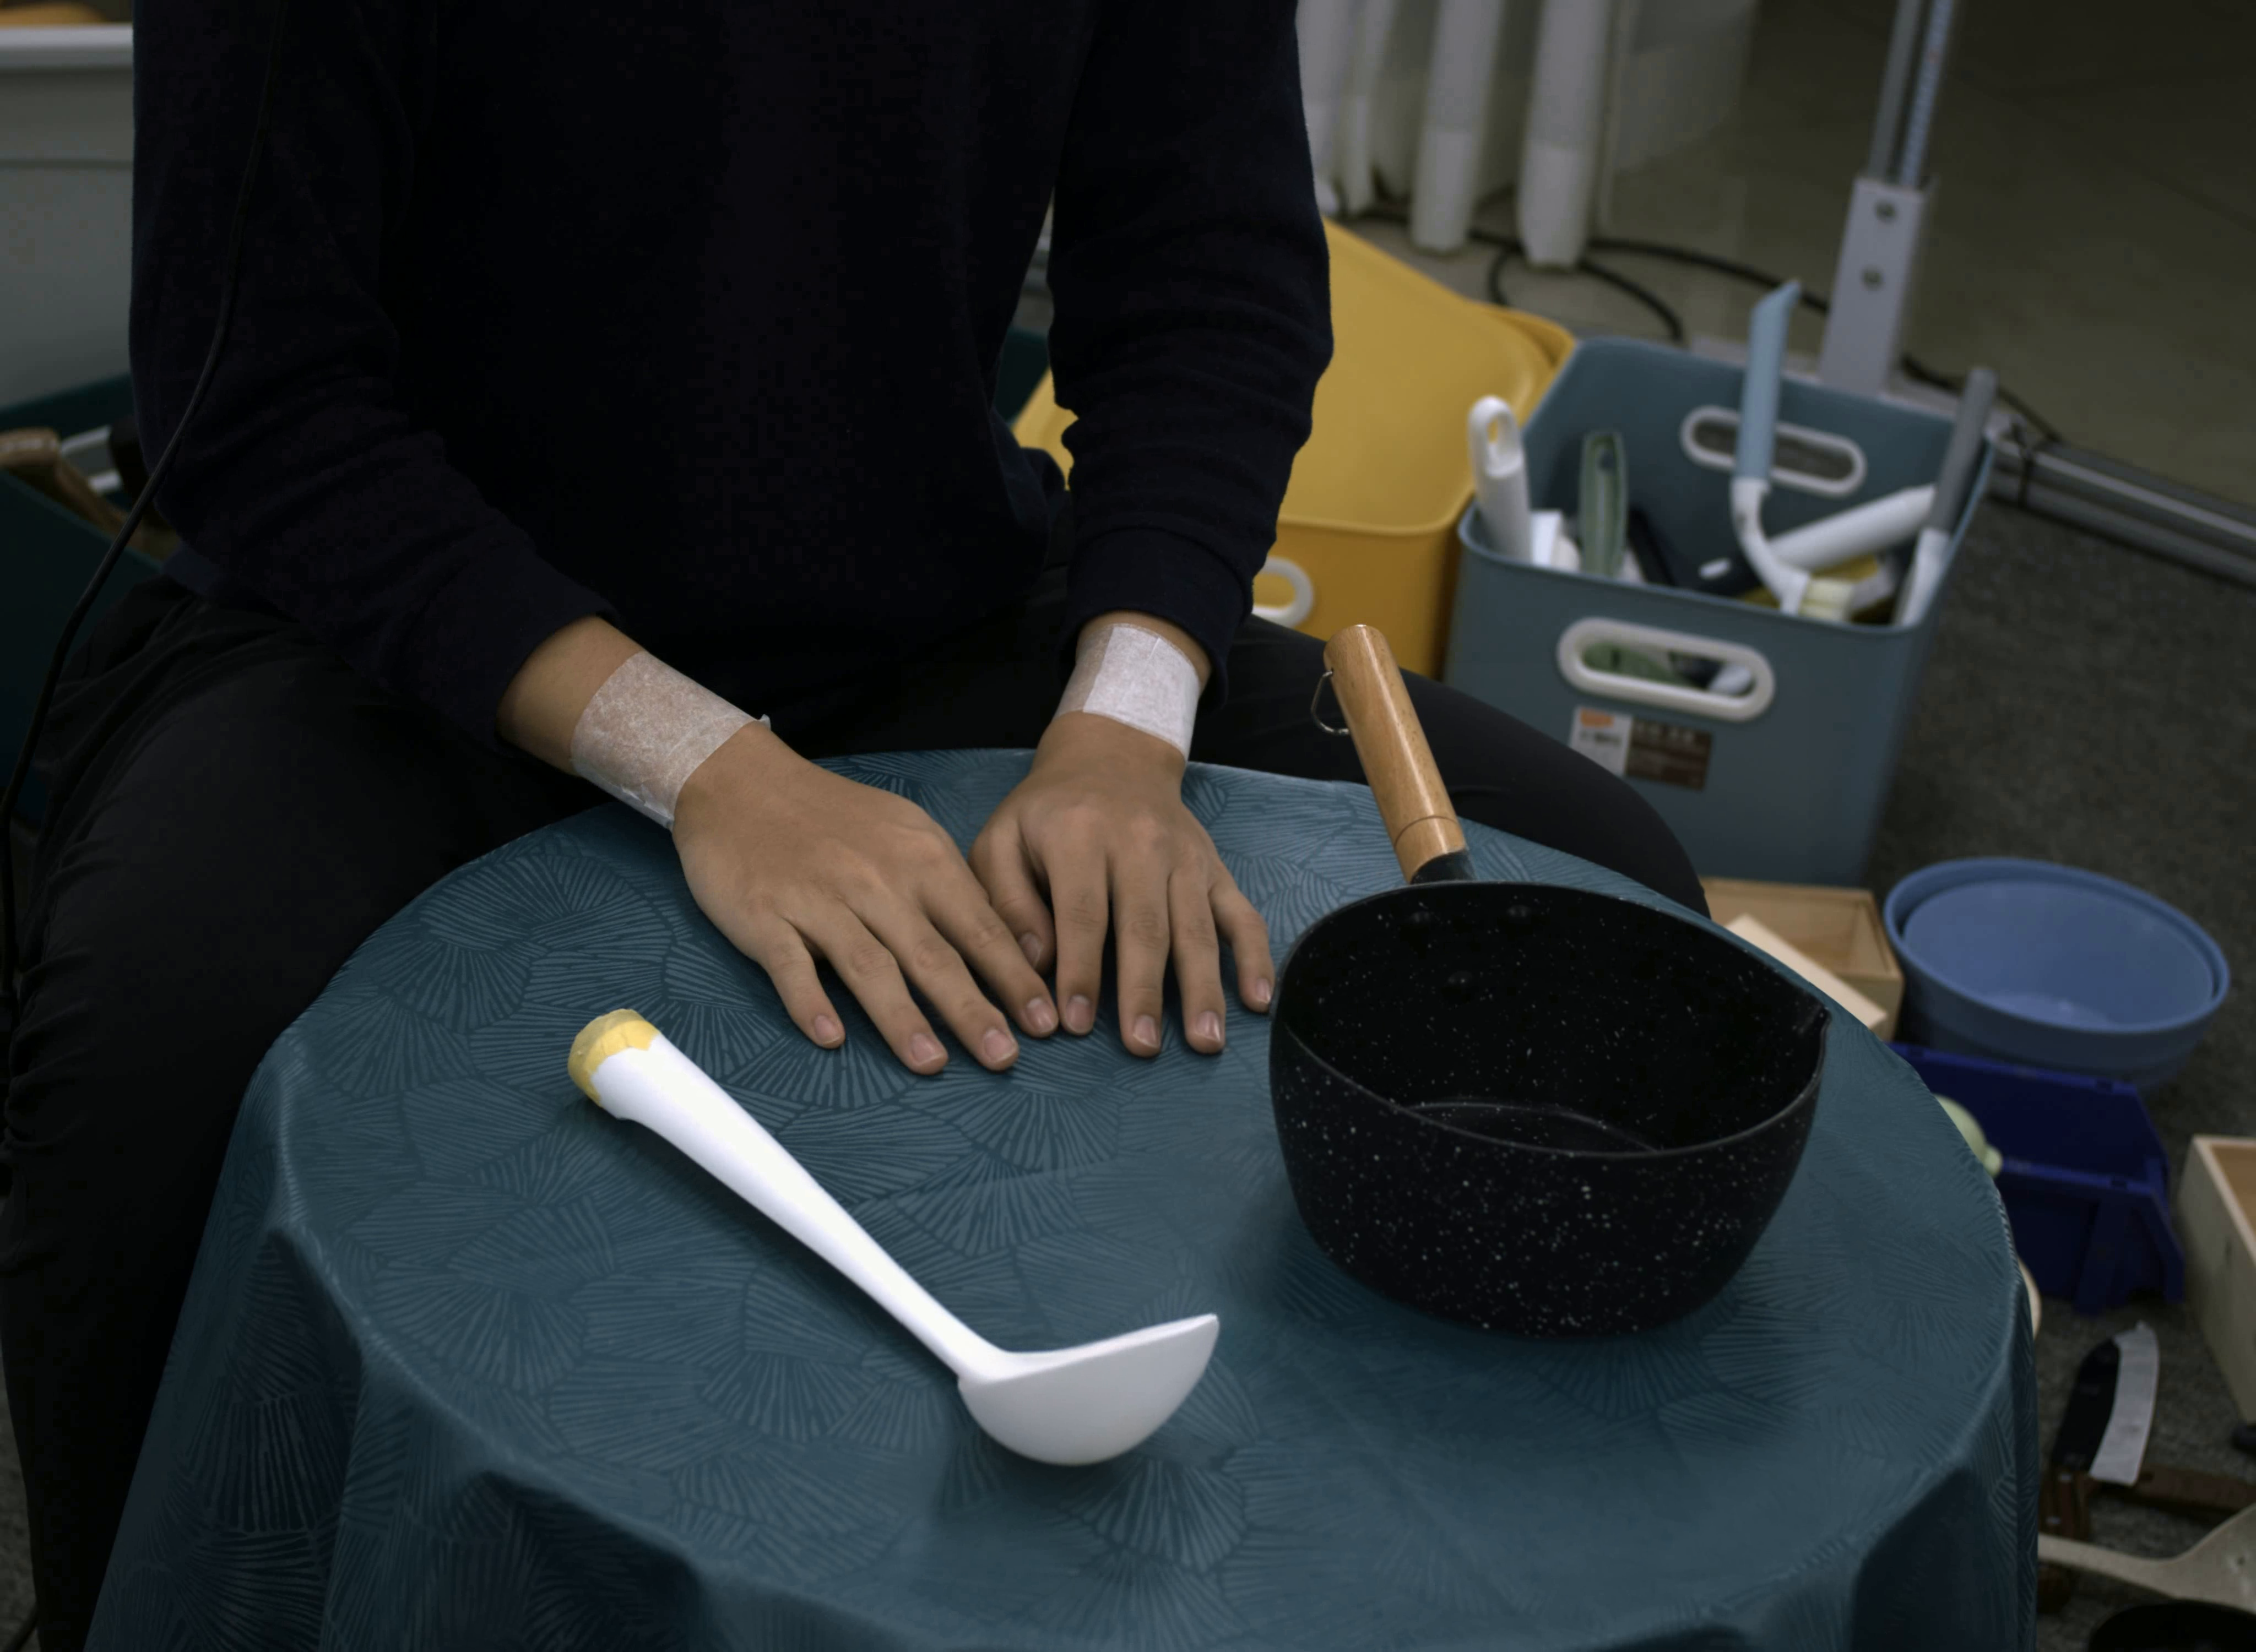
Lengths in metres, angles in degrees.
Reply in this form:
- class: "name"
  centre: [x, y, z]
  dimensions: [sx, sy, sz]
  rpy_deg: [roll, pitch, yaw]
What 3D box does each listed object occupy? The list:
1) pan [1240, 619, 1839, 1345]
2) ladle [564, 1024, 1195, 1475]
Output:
- class: "pan"
  centre: [0.117, 0.051, 1.853]
  dimensions: [0.206, 0.108, 0.346]
  rpy_deg: [-3, 30, -15]
- class: "ladle"
  centre: [-0.091, 0.124, 1.710]
  dimensions: [0.090, 0.069, 0.295]
  rpy_deg: [-20, 36, -32]
